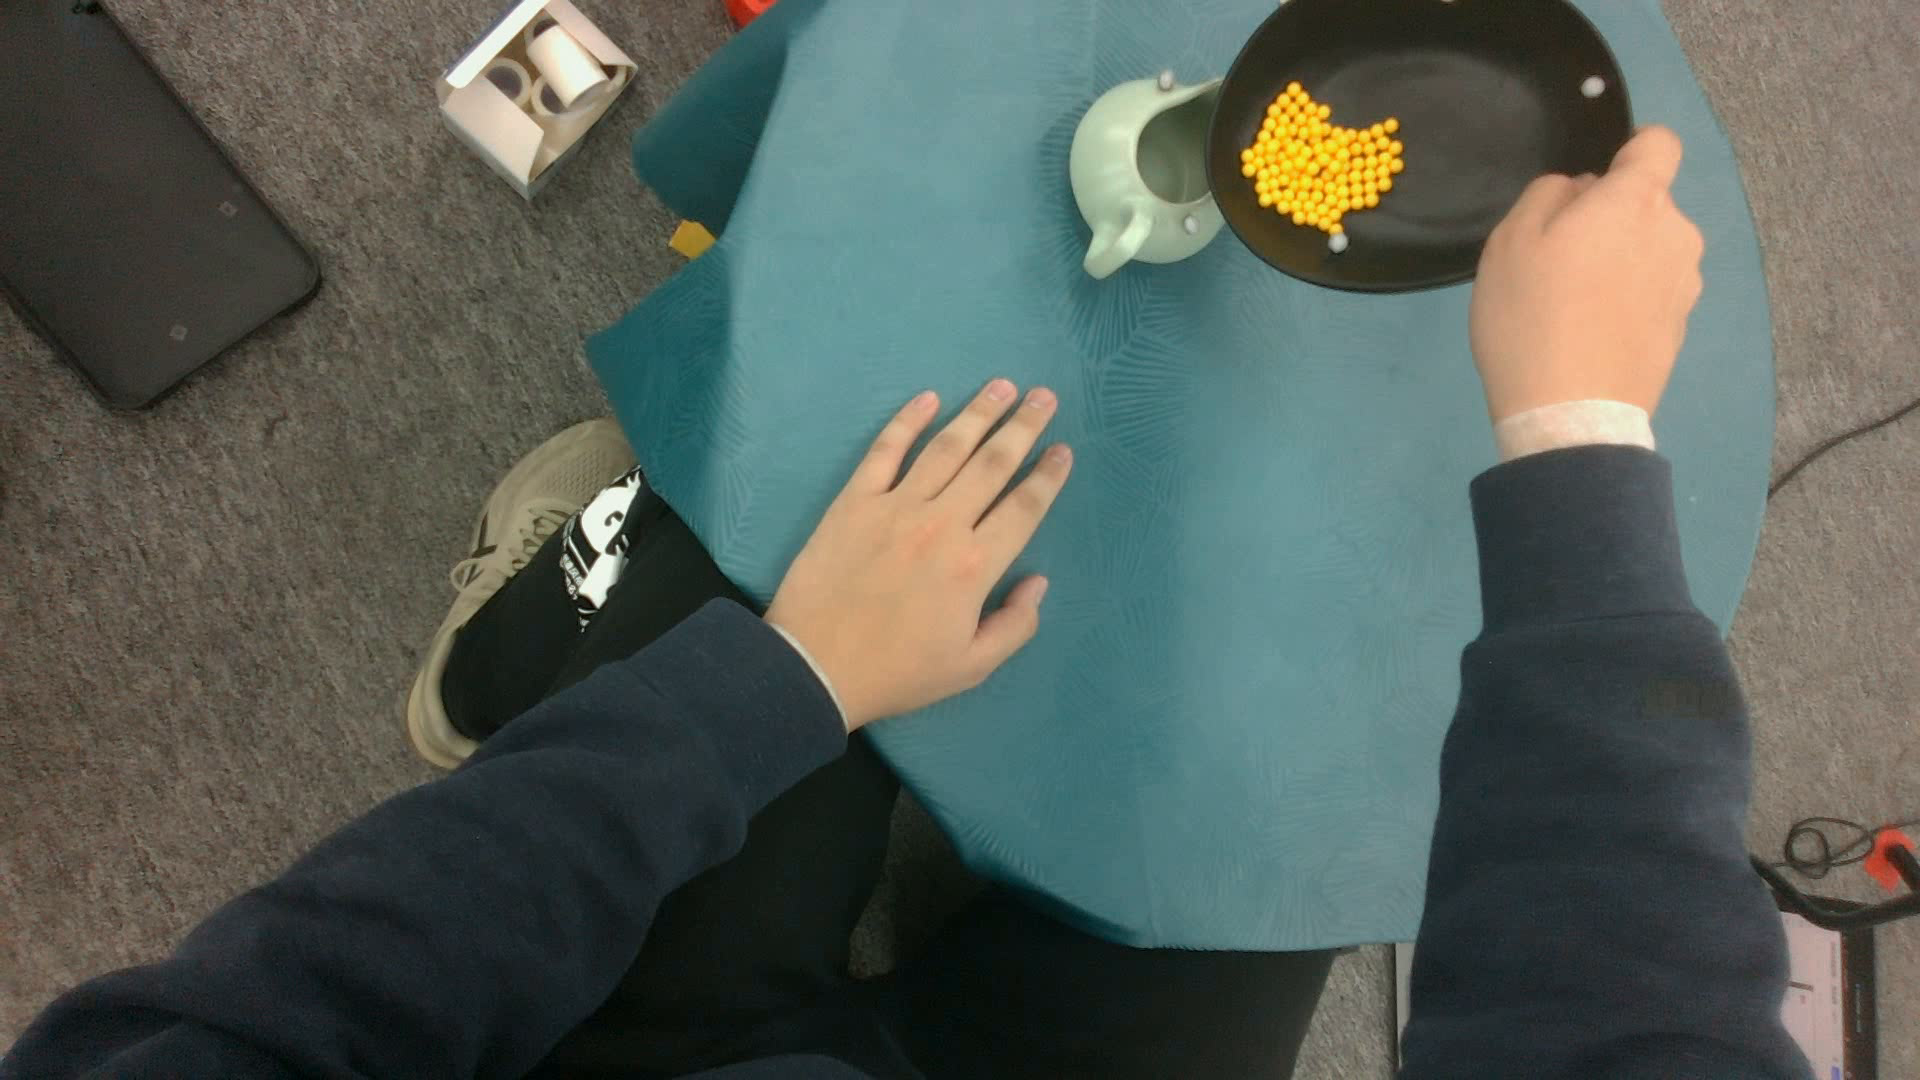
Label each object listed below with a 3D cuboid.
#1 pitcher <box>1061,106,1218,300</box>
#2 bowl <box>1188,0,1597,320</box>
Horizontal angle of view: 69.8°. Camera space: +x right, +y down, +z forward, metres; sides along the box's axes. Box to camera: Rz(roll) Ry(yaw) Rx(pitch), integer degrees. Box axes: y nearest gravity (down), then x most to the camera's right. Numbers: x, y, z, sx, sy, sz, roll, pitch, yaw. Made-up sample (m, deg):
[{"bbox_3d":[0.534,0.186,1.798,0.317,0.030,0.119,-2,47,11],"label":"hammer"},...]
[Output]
[{"bbox_3d":[0.087,-0.160,0.668,0.086,0.060,0.108,34,81,-13],"label":"pitcher"},{"bbox_3d":[0.189,-0.161,0.604,0.067,0.170,0.137,3,94,-60],"label":"bowl"}]
